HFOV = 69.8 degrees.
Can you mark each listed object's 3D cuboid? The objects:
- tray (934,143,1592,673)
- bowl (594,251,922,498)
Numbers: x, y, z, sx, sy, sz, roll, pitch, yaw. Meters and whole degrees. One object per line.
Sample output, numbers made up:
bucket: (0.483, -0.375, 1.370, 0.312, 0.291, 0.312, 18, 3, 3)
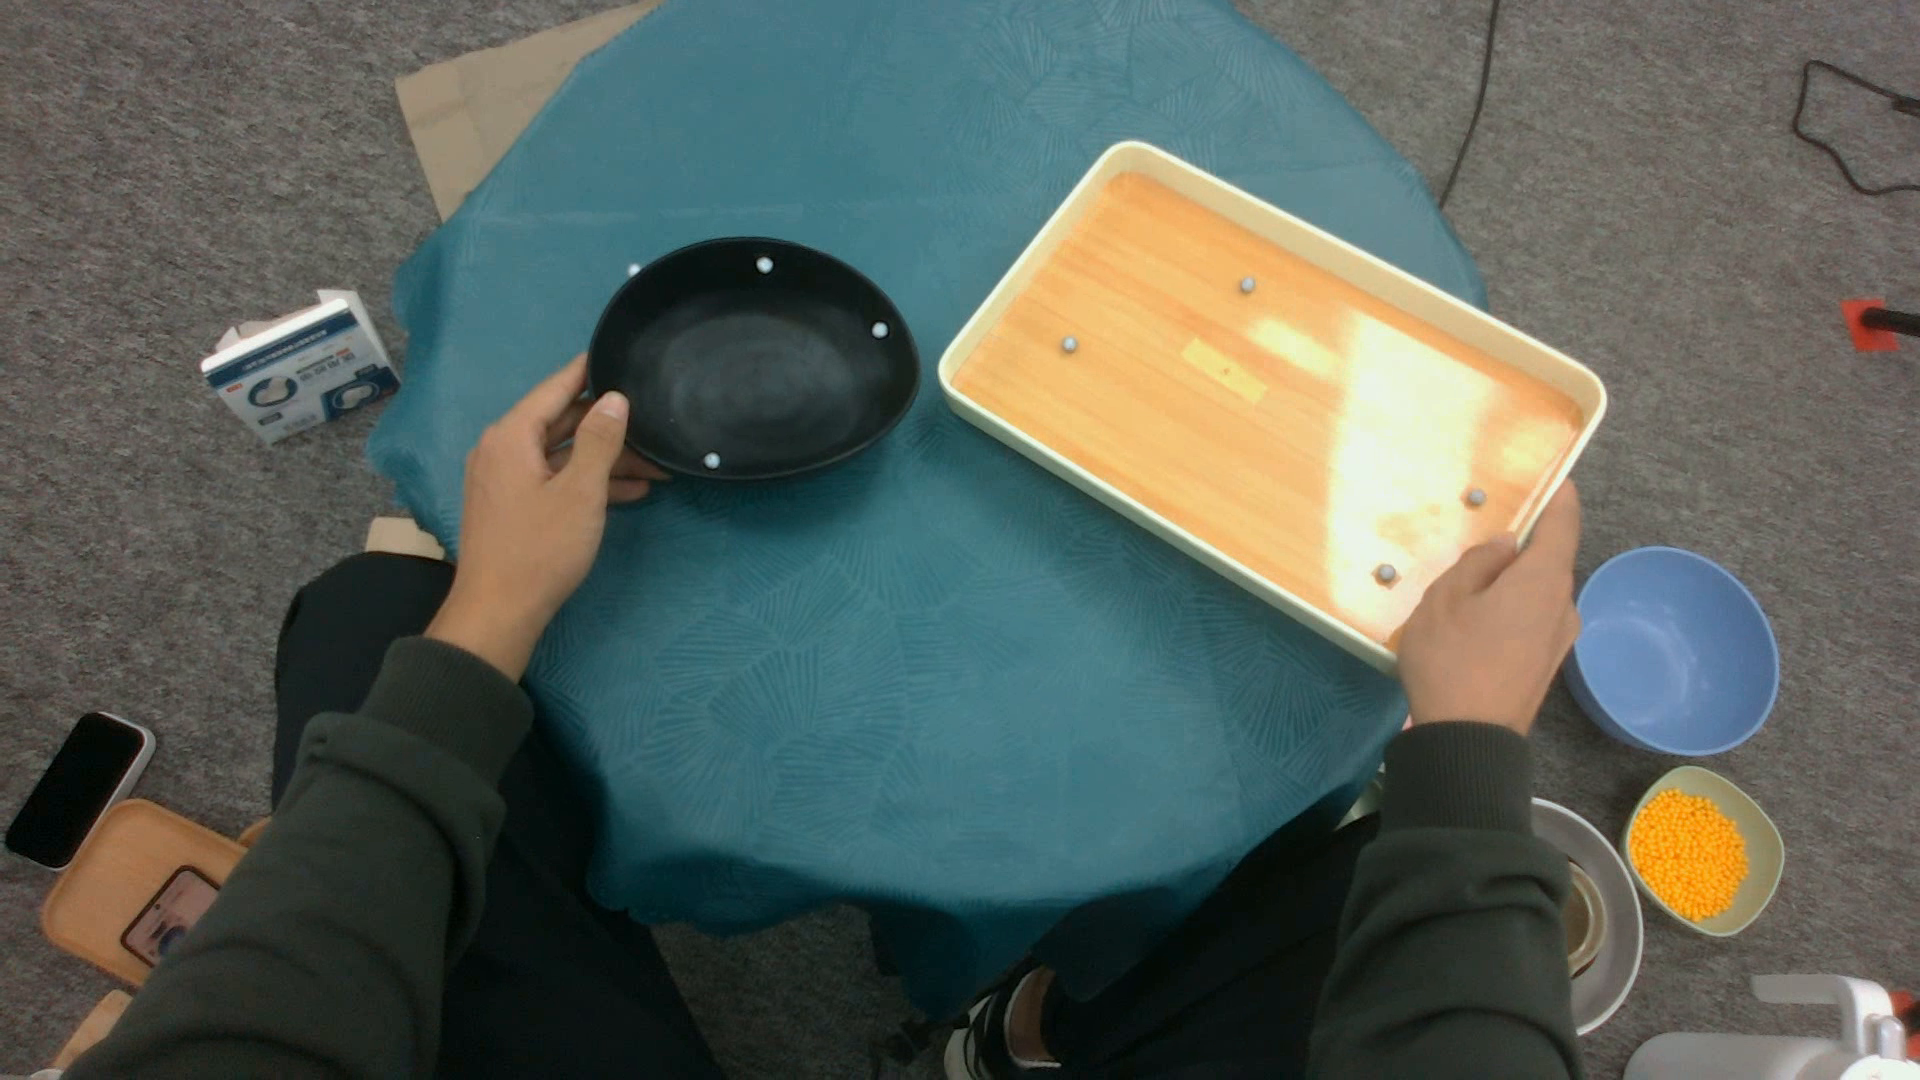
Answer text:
tray: (0.156, -0.080, 0.732, 0.300, 0.027, 0.192, 31, 75, 16)
bowl: (-0.107, -0.082, 0.742, 0.170, 0.066, 0.137, -5, 73, -9)
